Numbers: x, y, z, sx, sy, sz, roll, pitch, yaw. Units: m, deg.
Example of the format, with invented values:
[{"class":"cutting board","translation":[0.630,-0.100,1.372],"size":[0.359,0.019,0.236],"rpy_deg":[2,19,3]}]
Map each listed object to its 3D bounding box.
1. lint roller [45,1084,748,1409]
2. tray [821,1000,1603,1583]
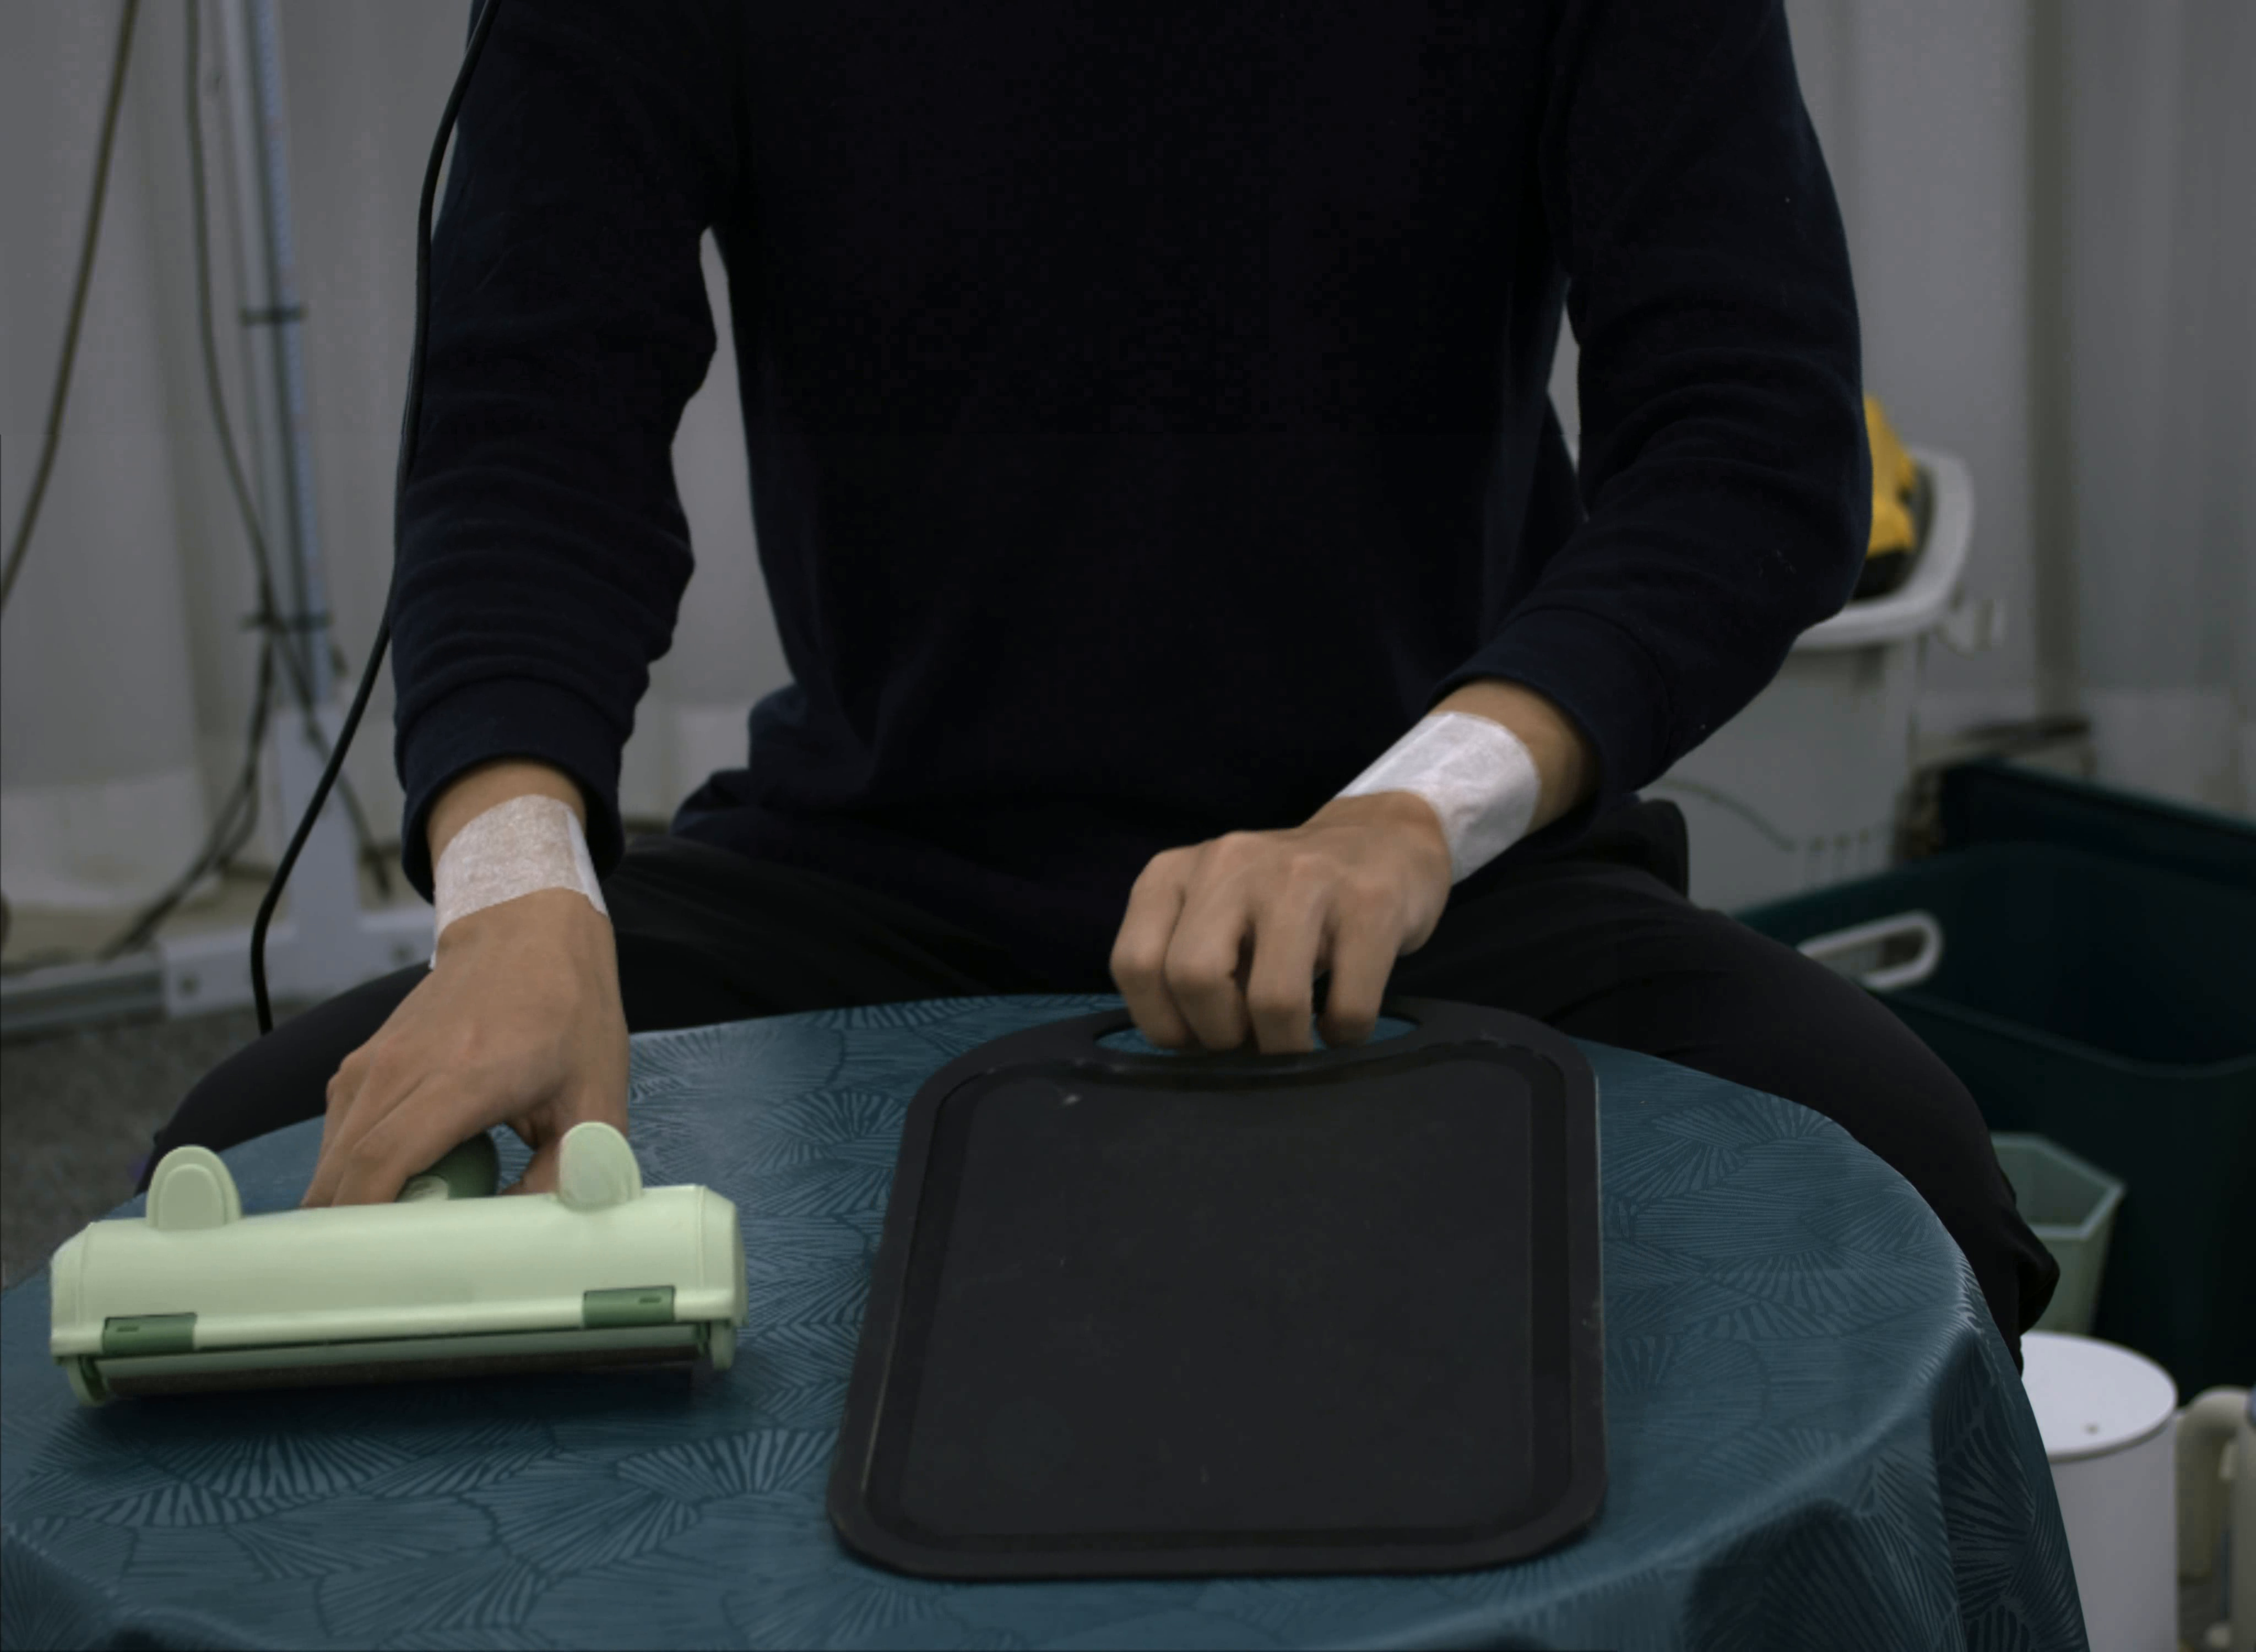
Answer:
[{"class":"lint roller","translation":[-0.210,0.102,1.618],"size":[0.198,0.081,0.185],"rpy_deg":[-3,27,0]},{"class":"tray","translation":[0.029,0.124,1.557],"size":[0.210,0.010,0.329],"rpy_deg":[-2,25,5]}]
